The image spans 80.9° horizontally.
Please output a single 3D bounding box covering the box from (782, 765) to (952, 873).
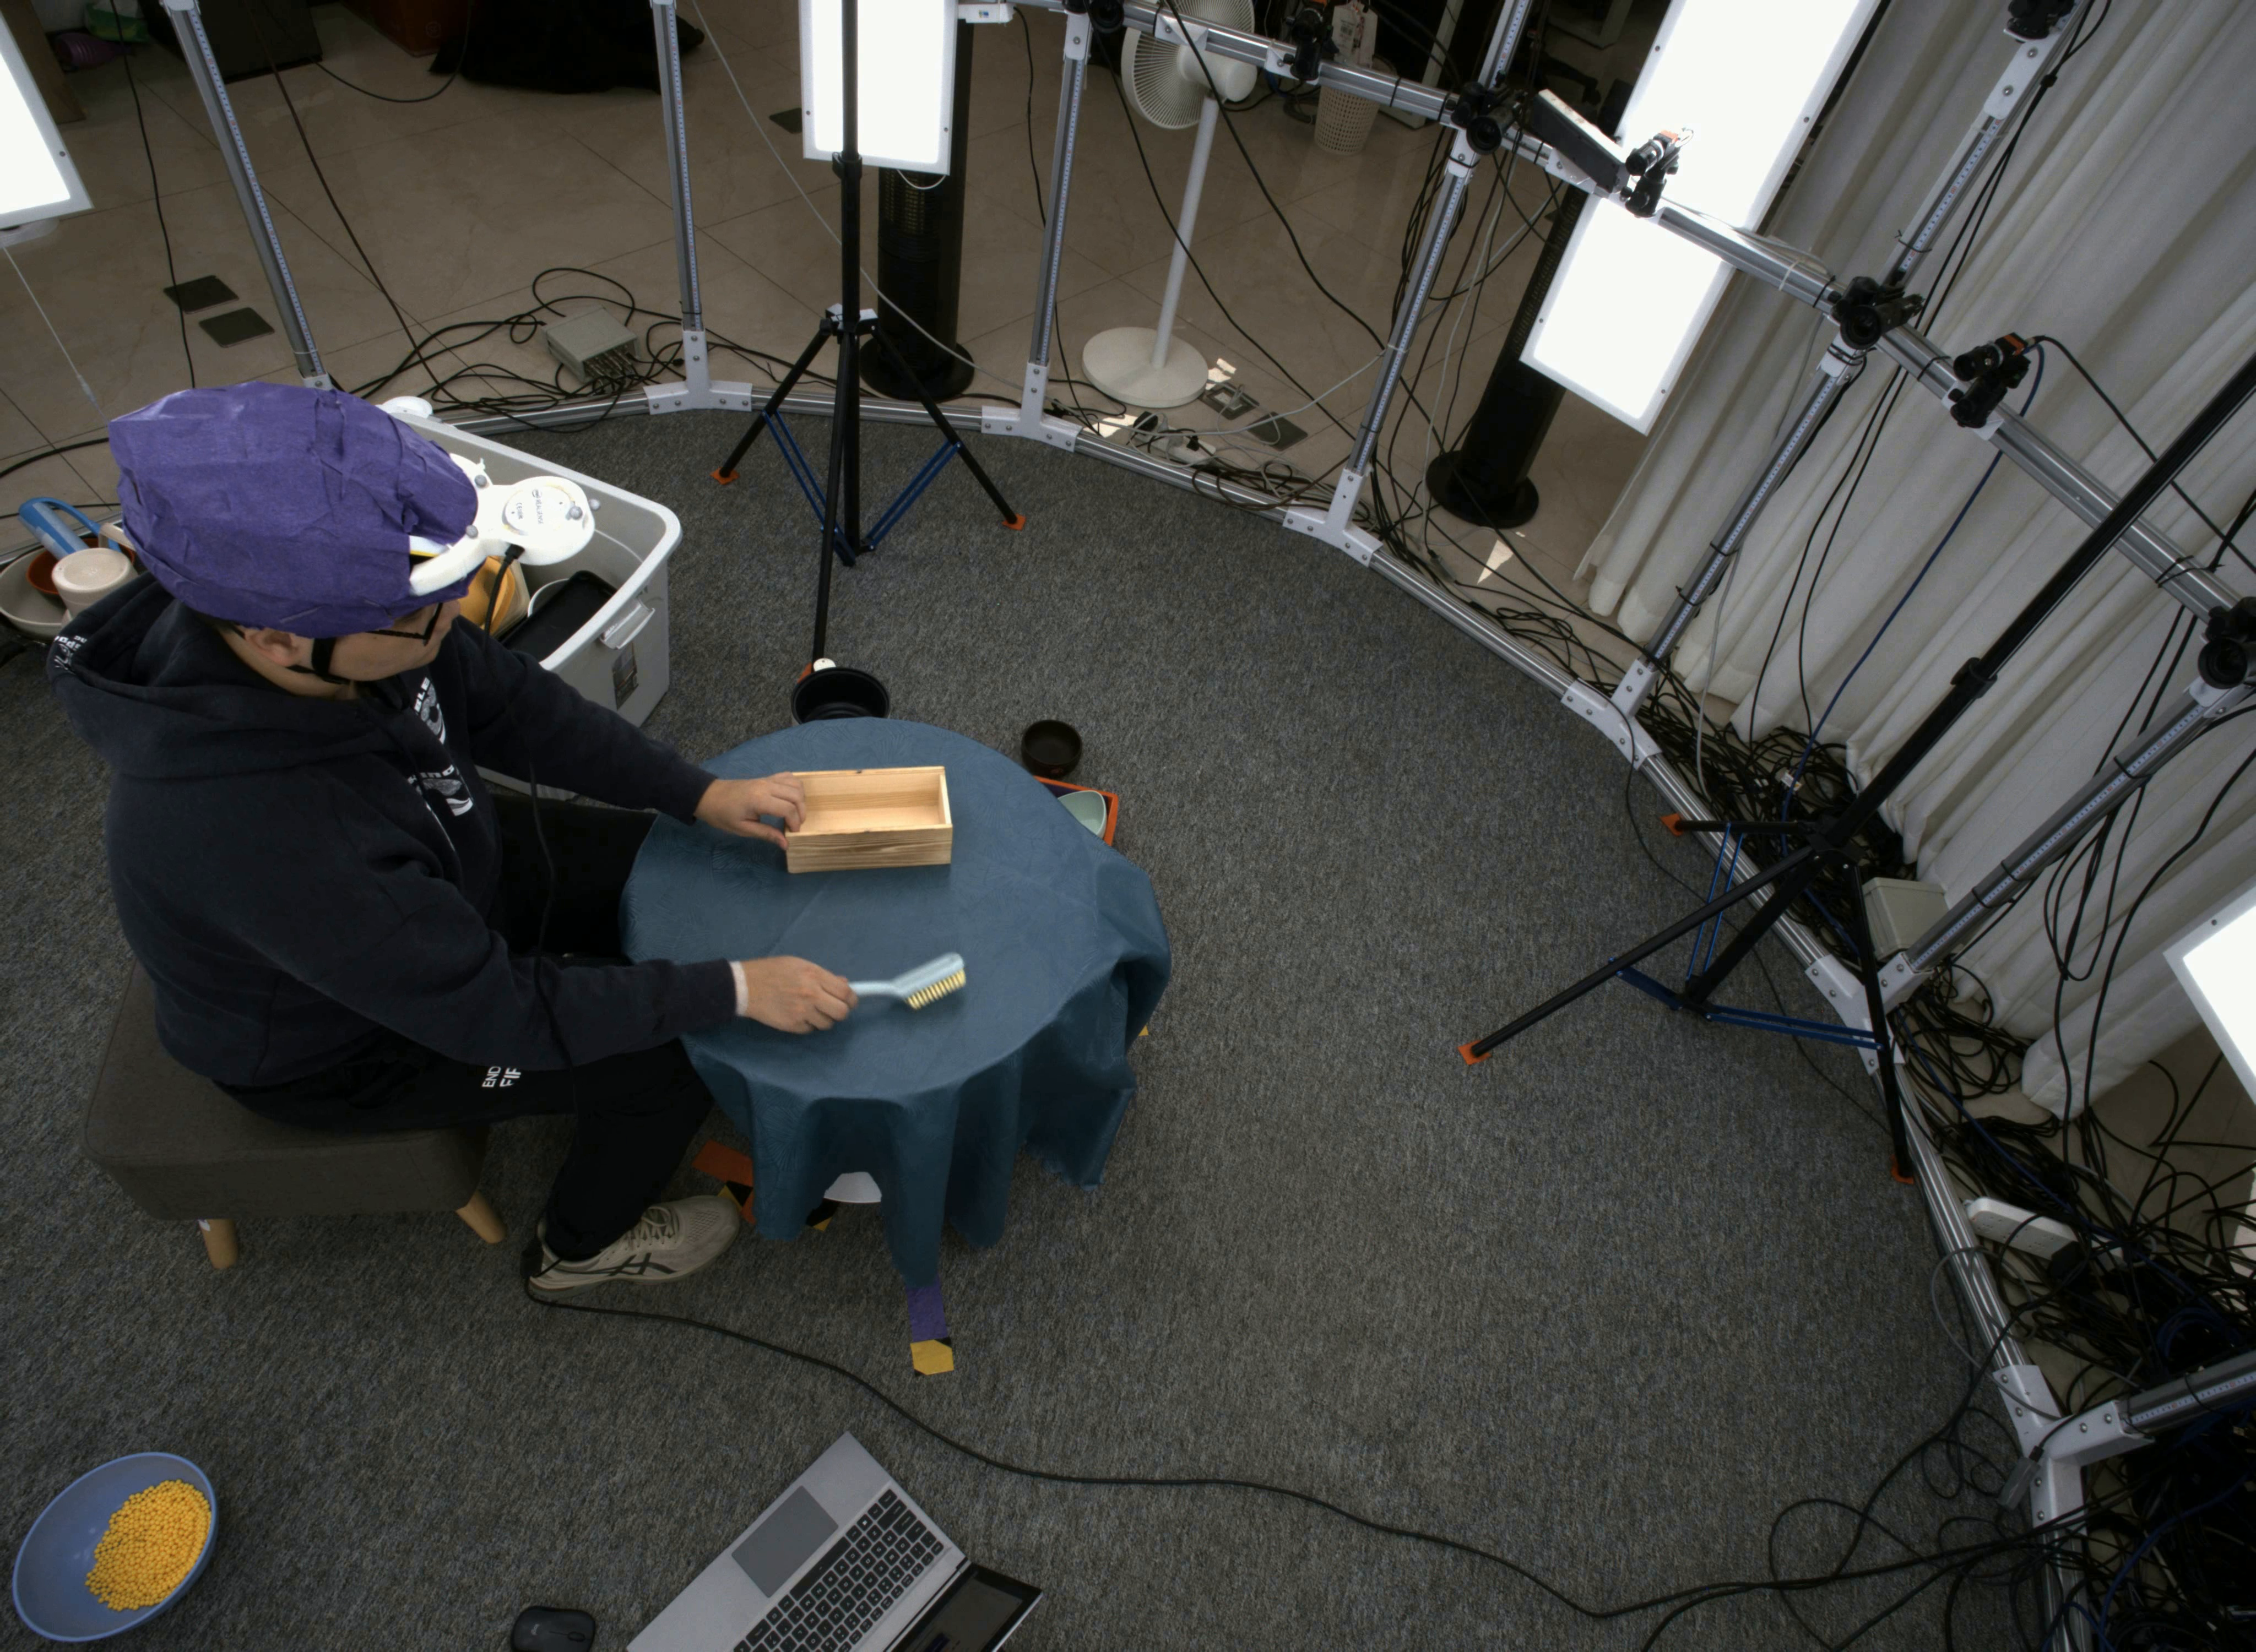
[{"bbox_3d":[-0.341,-0.011,1.697,0.212,0.082,0.105,-3,53,-17],"label":"box"}]

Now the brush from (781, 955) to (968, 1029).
[{"bbox_3d":[-0.301,0.206,1.559,0.230,0.051,0.036,-15,26,-23],"label":"brush"}]
